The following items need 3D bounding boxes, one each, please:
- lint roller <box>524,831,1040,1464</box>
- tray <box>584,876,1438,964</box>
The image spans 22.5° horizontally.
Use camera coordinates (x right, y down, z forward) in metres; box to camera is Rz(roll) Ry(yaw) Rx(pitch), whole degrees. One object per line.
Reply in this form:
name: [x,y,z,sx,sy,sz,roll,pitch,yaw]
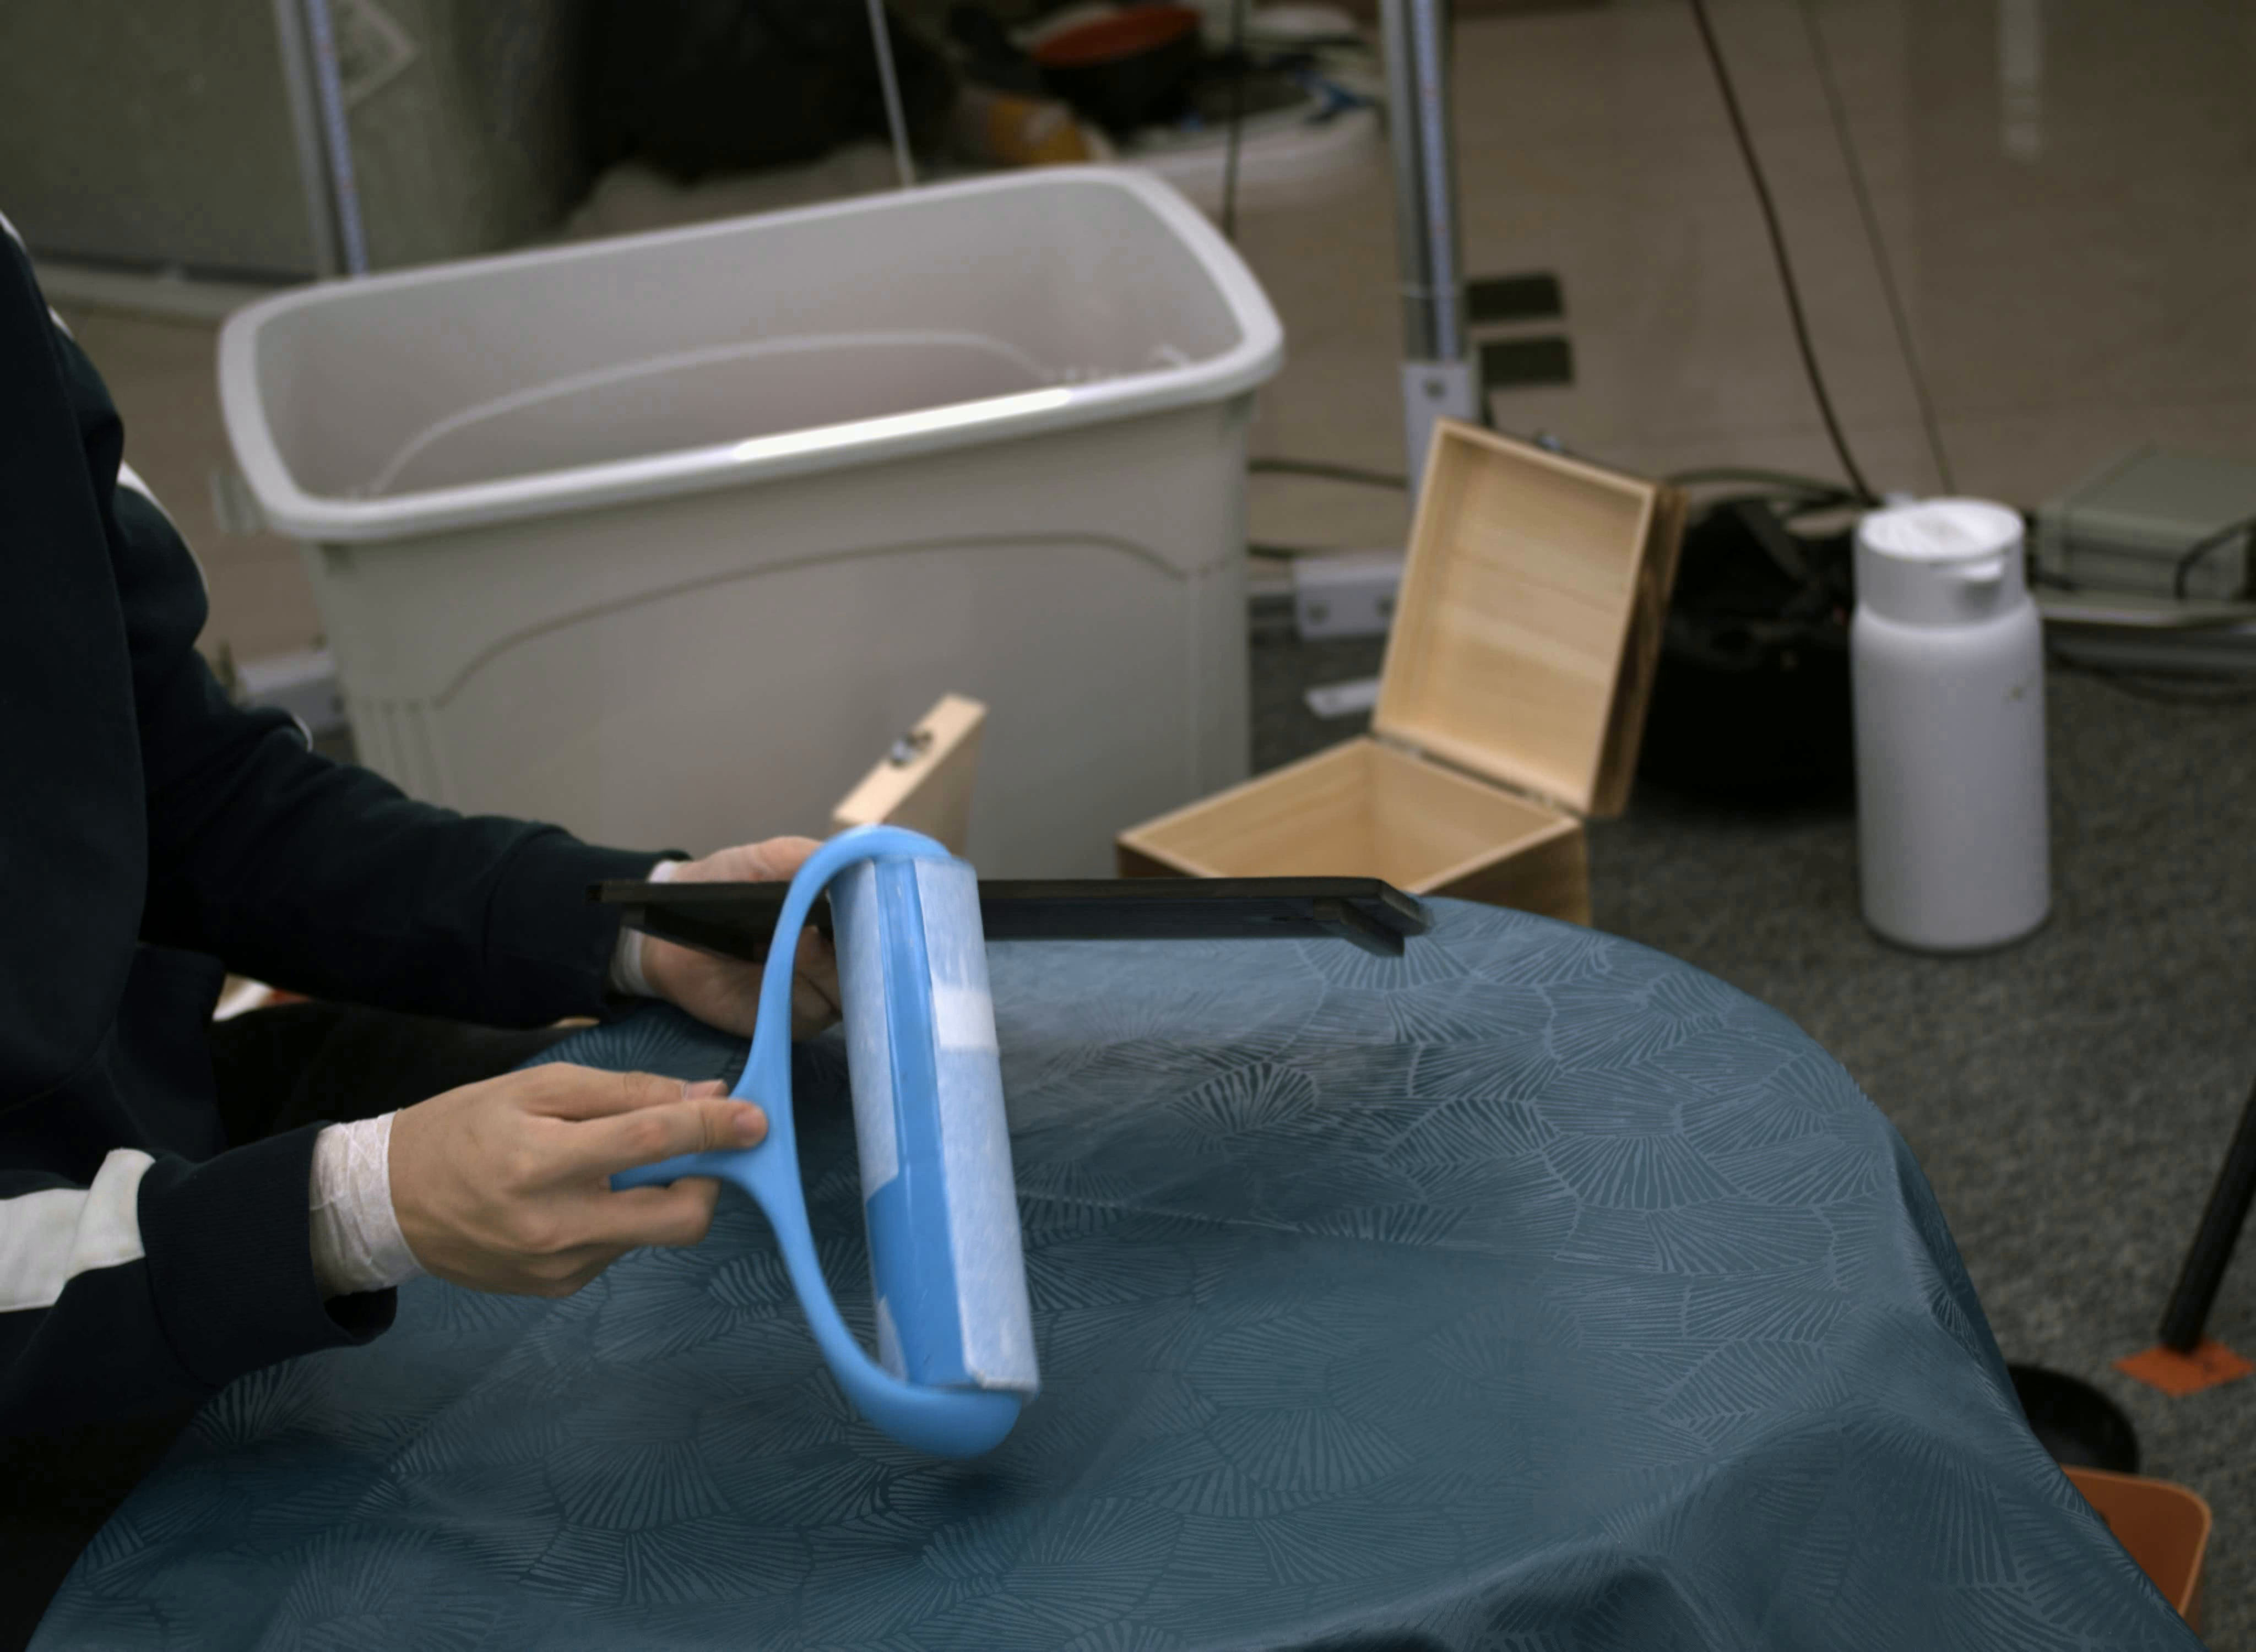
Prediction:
lint roller: [-0.127,0.120,1.979,0.180,0.227,0.068,-10,-16,2]
tray: [-0.042,0.037,2.173,0.305,0.018,0.171,0,-7,11]
